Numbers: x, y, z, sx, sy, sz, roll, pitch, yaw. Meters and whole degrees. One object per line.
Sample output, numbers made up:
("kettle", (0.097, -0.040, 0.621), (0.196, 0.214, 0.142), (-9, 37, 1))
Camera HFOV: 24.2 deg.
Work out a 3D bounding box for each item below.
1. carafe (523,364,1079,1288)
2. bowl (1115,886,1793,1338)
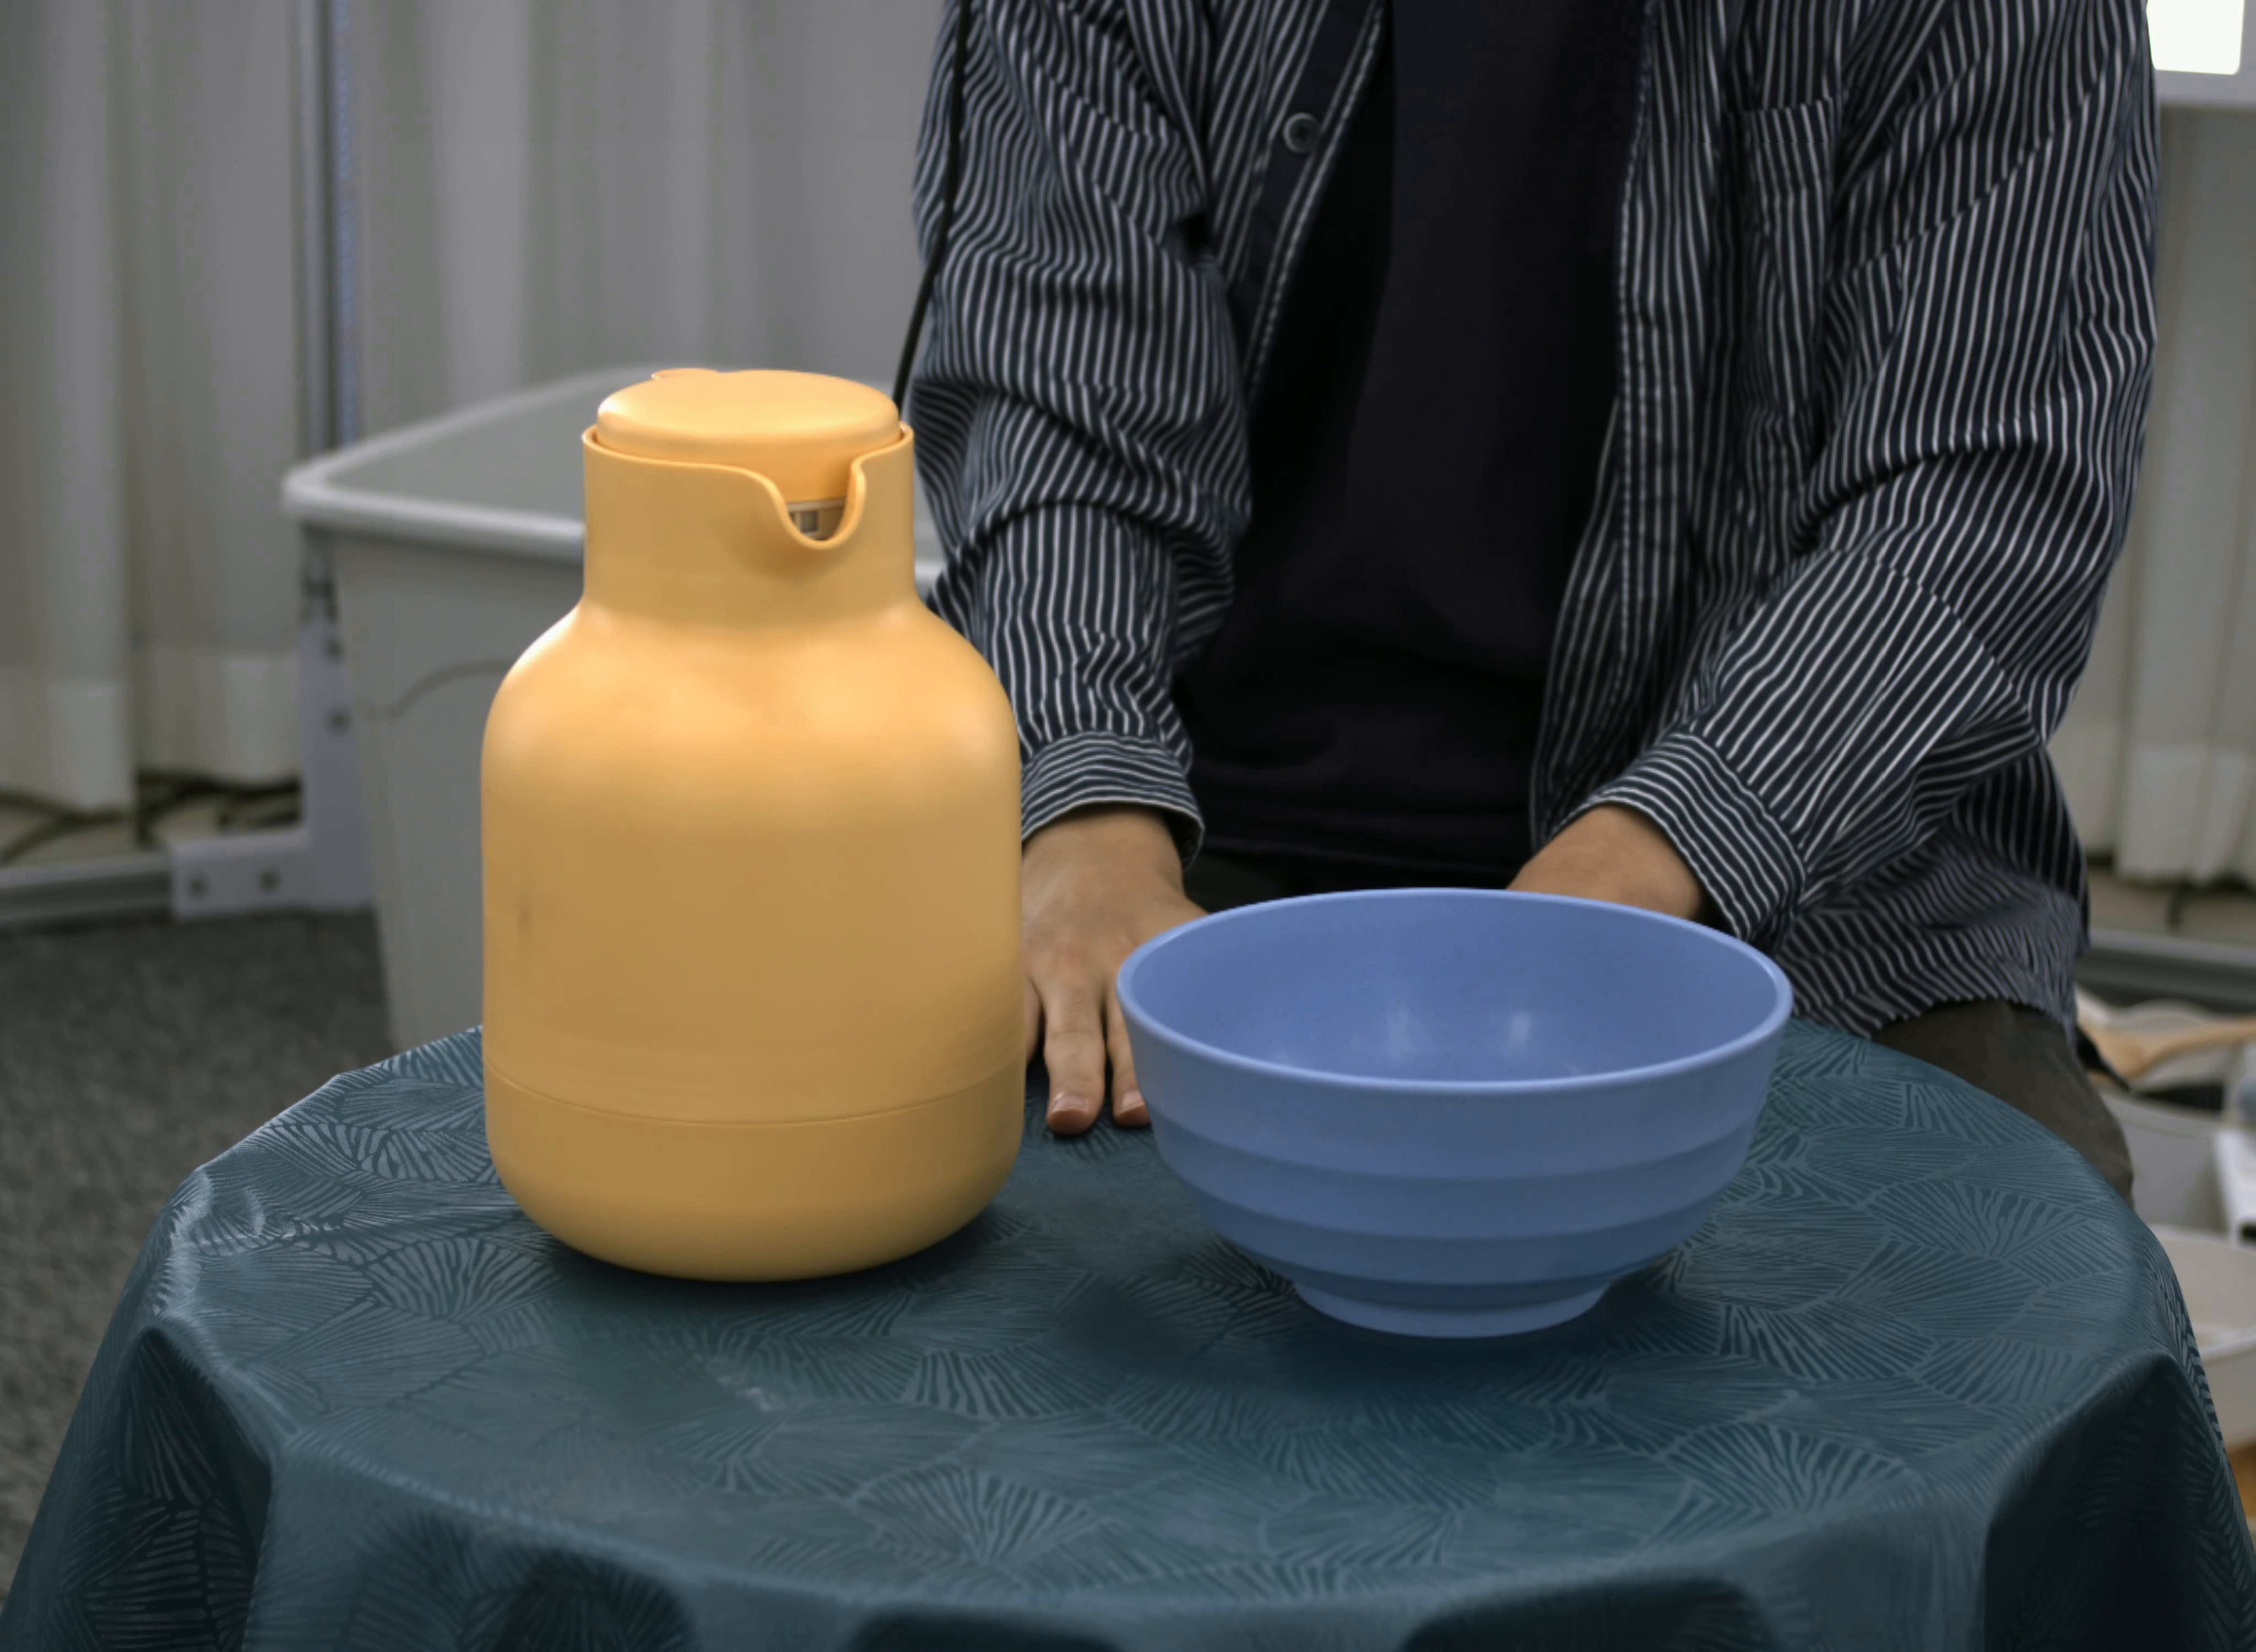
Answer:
("carafe", (-0.104, -0.009, 1.573), (0.164, 0.262, 0.200), (-6, 17, -21))
("bowl", (0.094, 0.089, 1.538), (0.196, 0.096, 0.195), (1, 16, 0))
